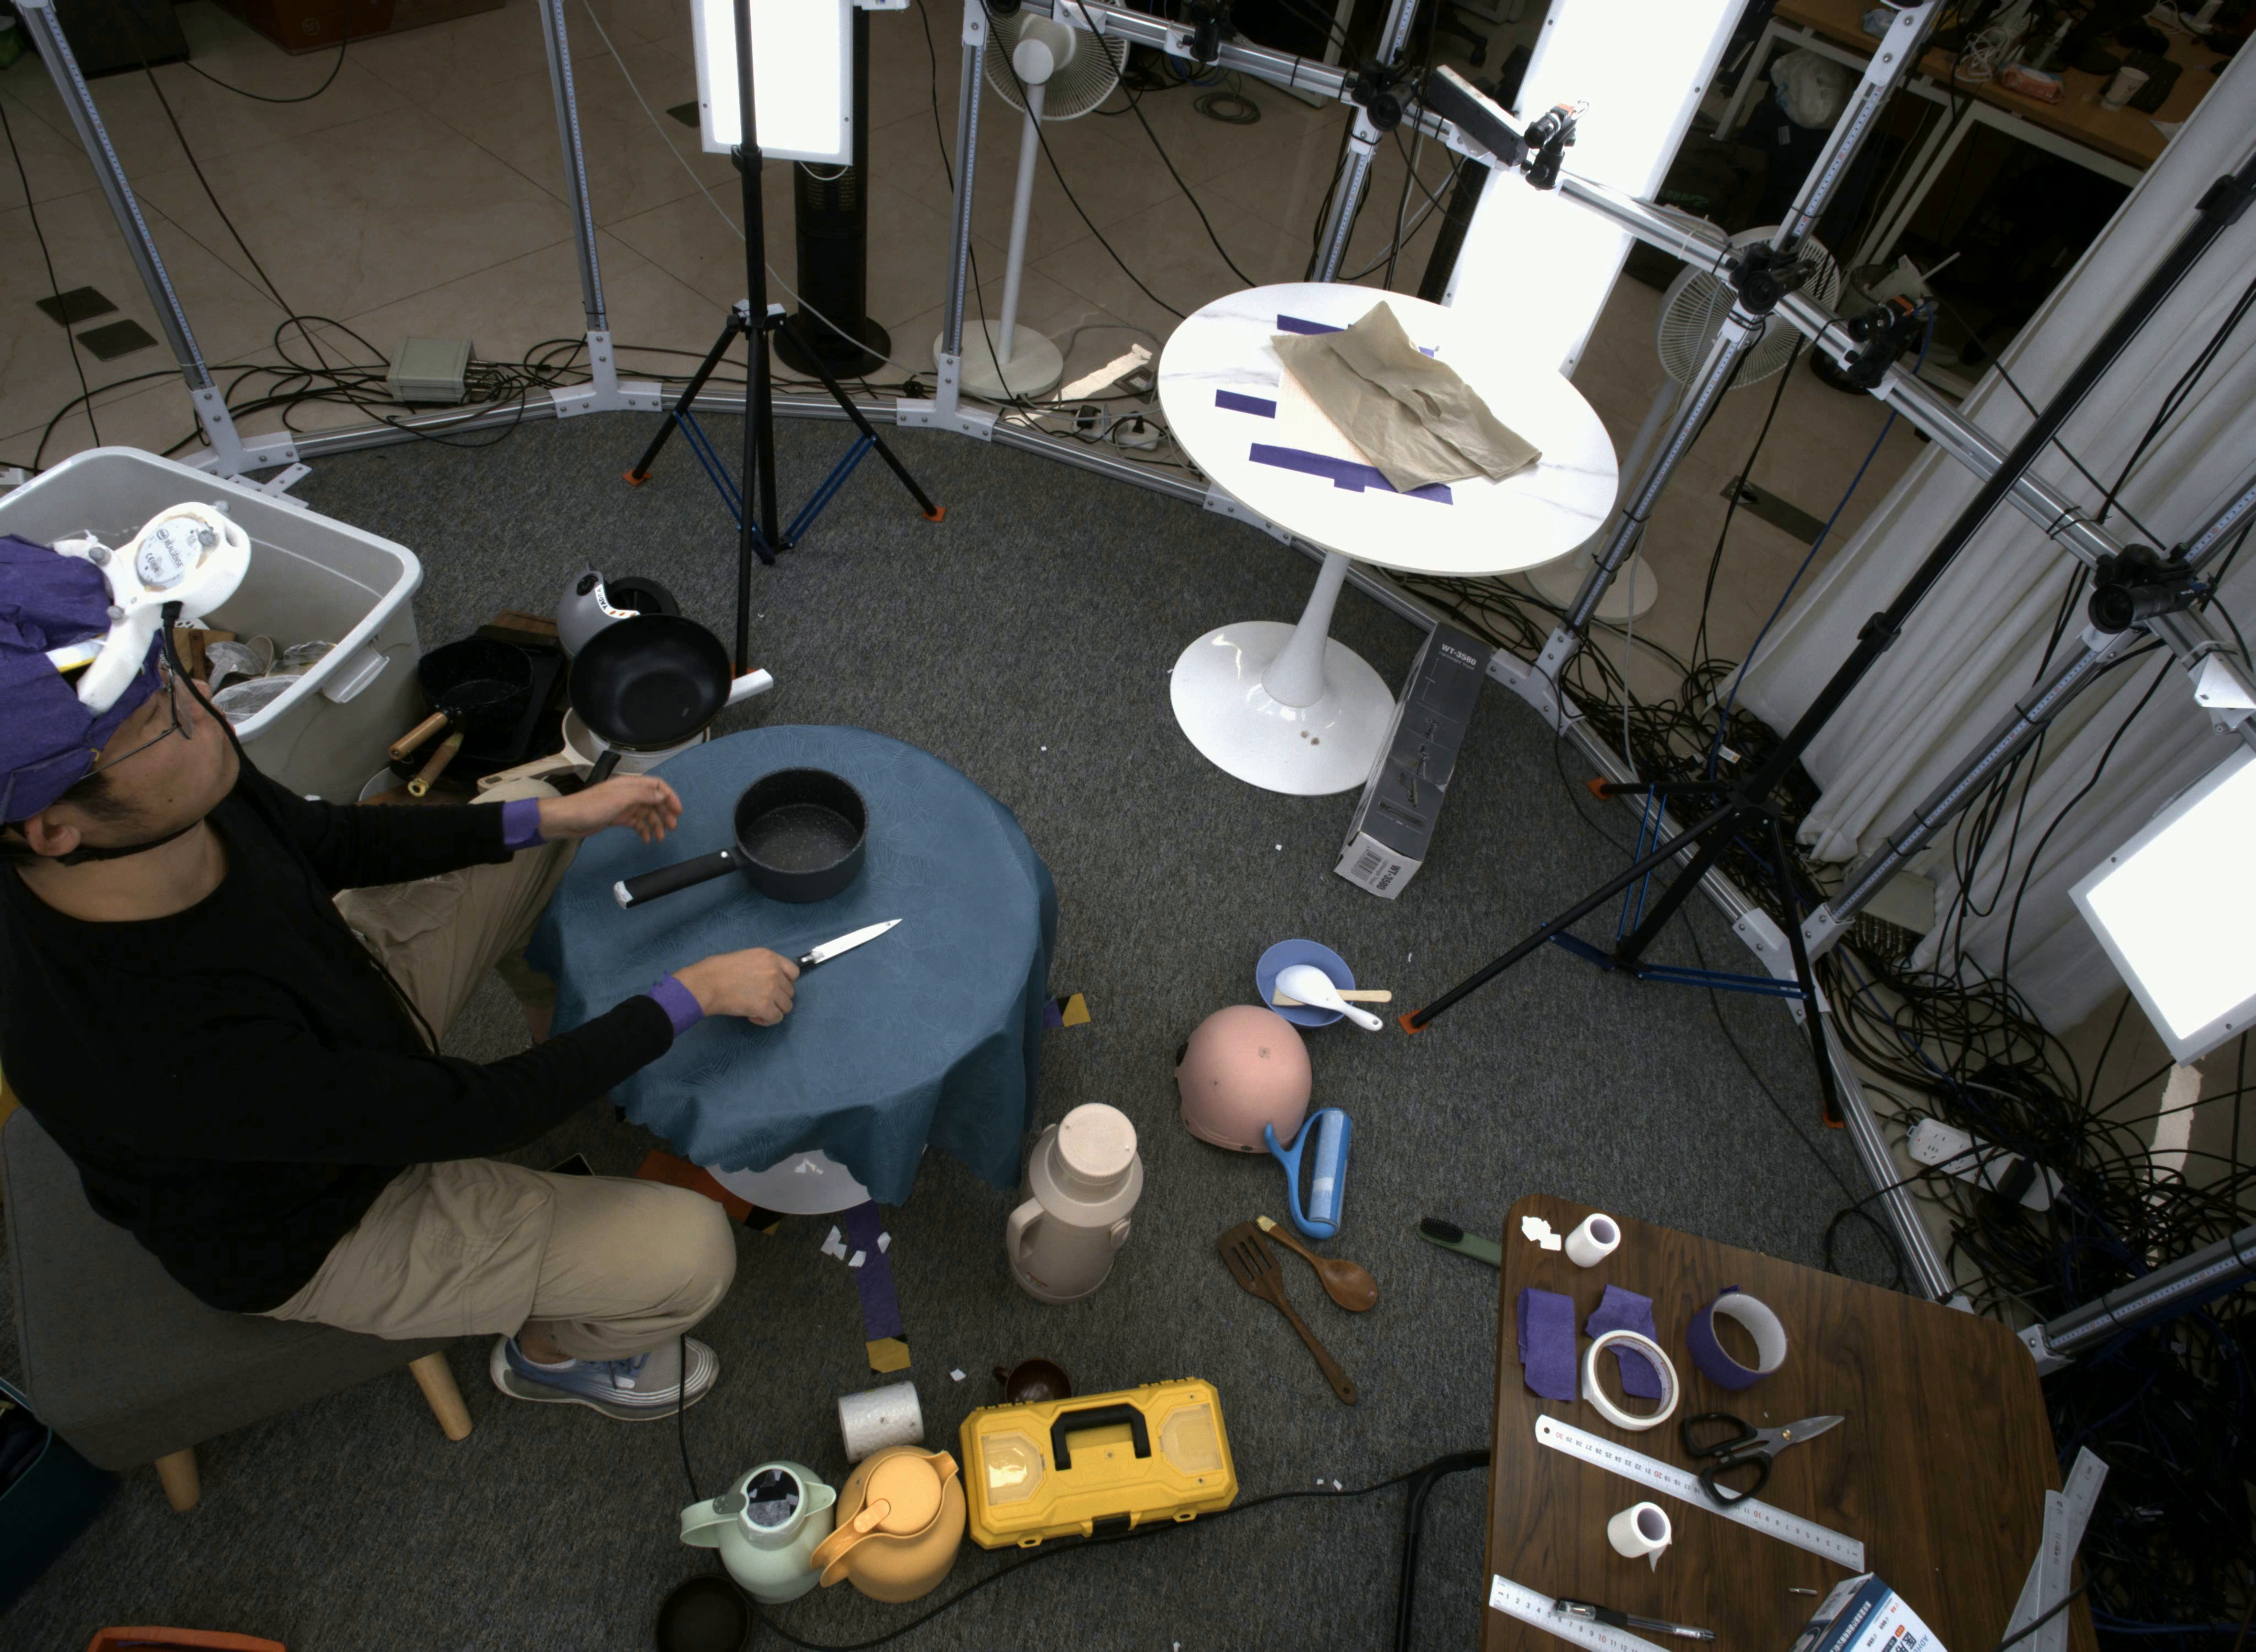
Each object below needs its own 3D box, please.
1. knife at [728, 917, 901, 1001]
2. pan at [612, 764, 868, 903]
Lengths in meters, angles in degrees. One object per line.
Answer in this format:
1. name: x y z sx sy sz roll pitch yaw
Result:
1. knife: -0.382 0.159 1.606 0.239 0.016 0.024 -24 62 -32
2. pan: -0.483 0.038 1.623 0.330 0.088 0.168 -23 62 -29
